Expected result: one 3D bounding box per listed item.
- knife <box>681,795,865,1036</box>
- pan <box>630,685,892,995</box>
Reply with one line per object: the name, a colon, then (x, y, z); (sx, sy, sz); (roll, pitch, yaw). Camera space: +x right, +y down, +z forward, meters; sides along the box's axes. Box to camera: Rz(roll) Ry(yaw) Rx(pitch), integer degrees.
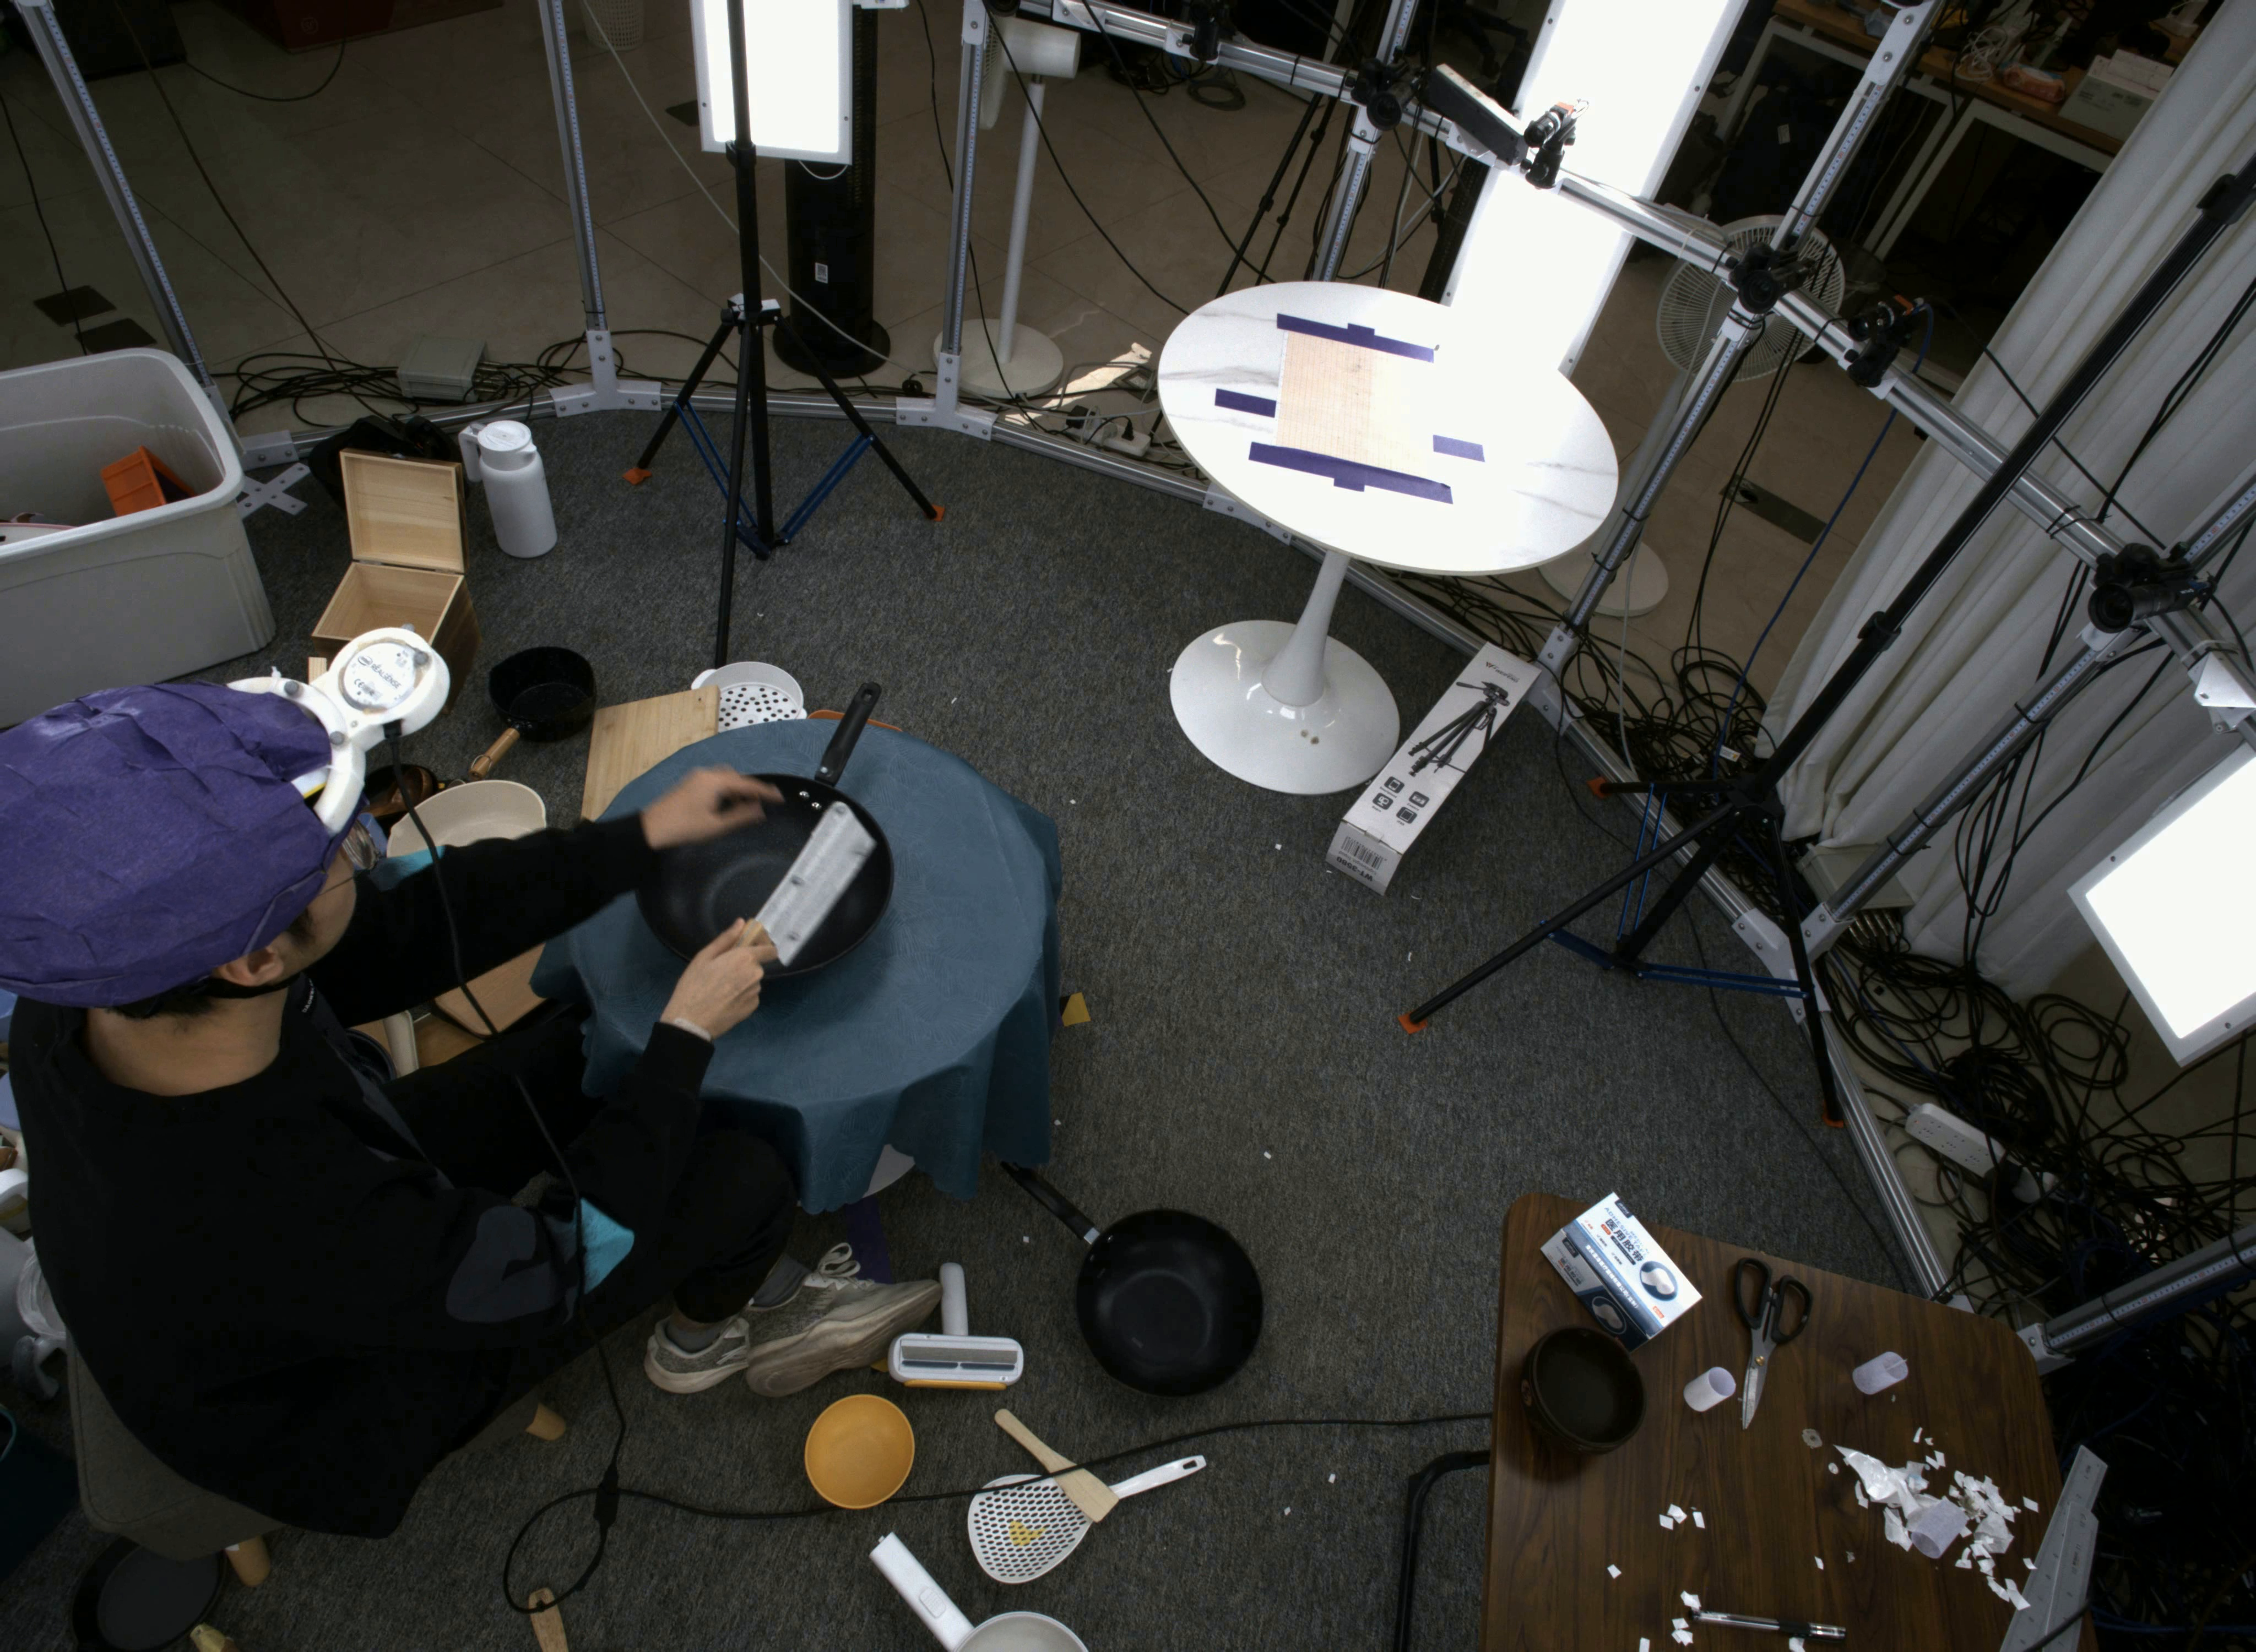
knife: (-0.389, 0.097, 1.430); (0.021, 0.118, 0.314); (16, 55, 24)
pan: (-0.422, 0.017, 1.633); (0.308, 0.113, 0.472); (21, 51, -1)
